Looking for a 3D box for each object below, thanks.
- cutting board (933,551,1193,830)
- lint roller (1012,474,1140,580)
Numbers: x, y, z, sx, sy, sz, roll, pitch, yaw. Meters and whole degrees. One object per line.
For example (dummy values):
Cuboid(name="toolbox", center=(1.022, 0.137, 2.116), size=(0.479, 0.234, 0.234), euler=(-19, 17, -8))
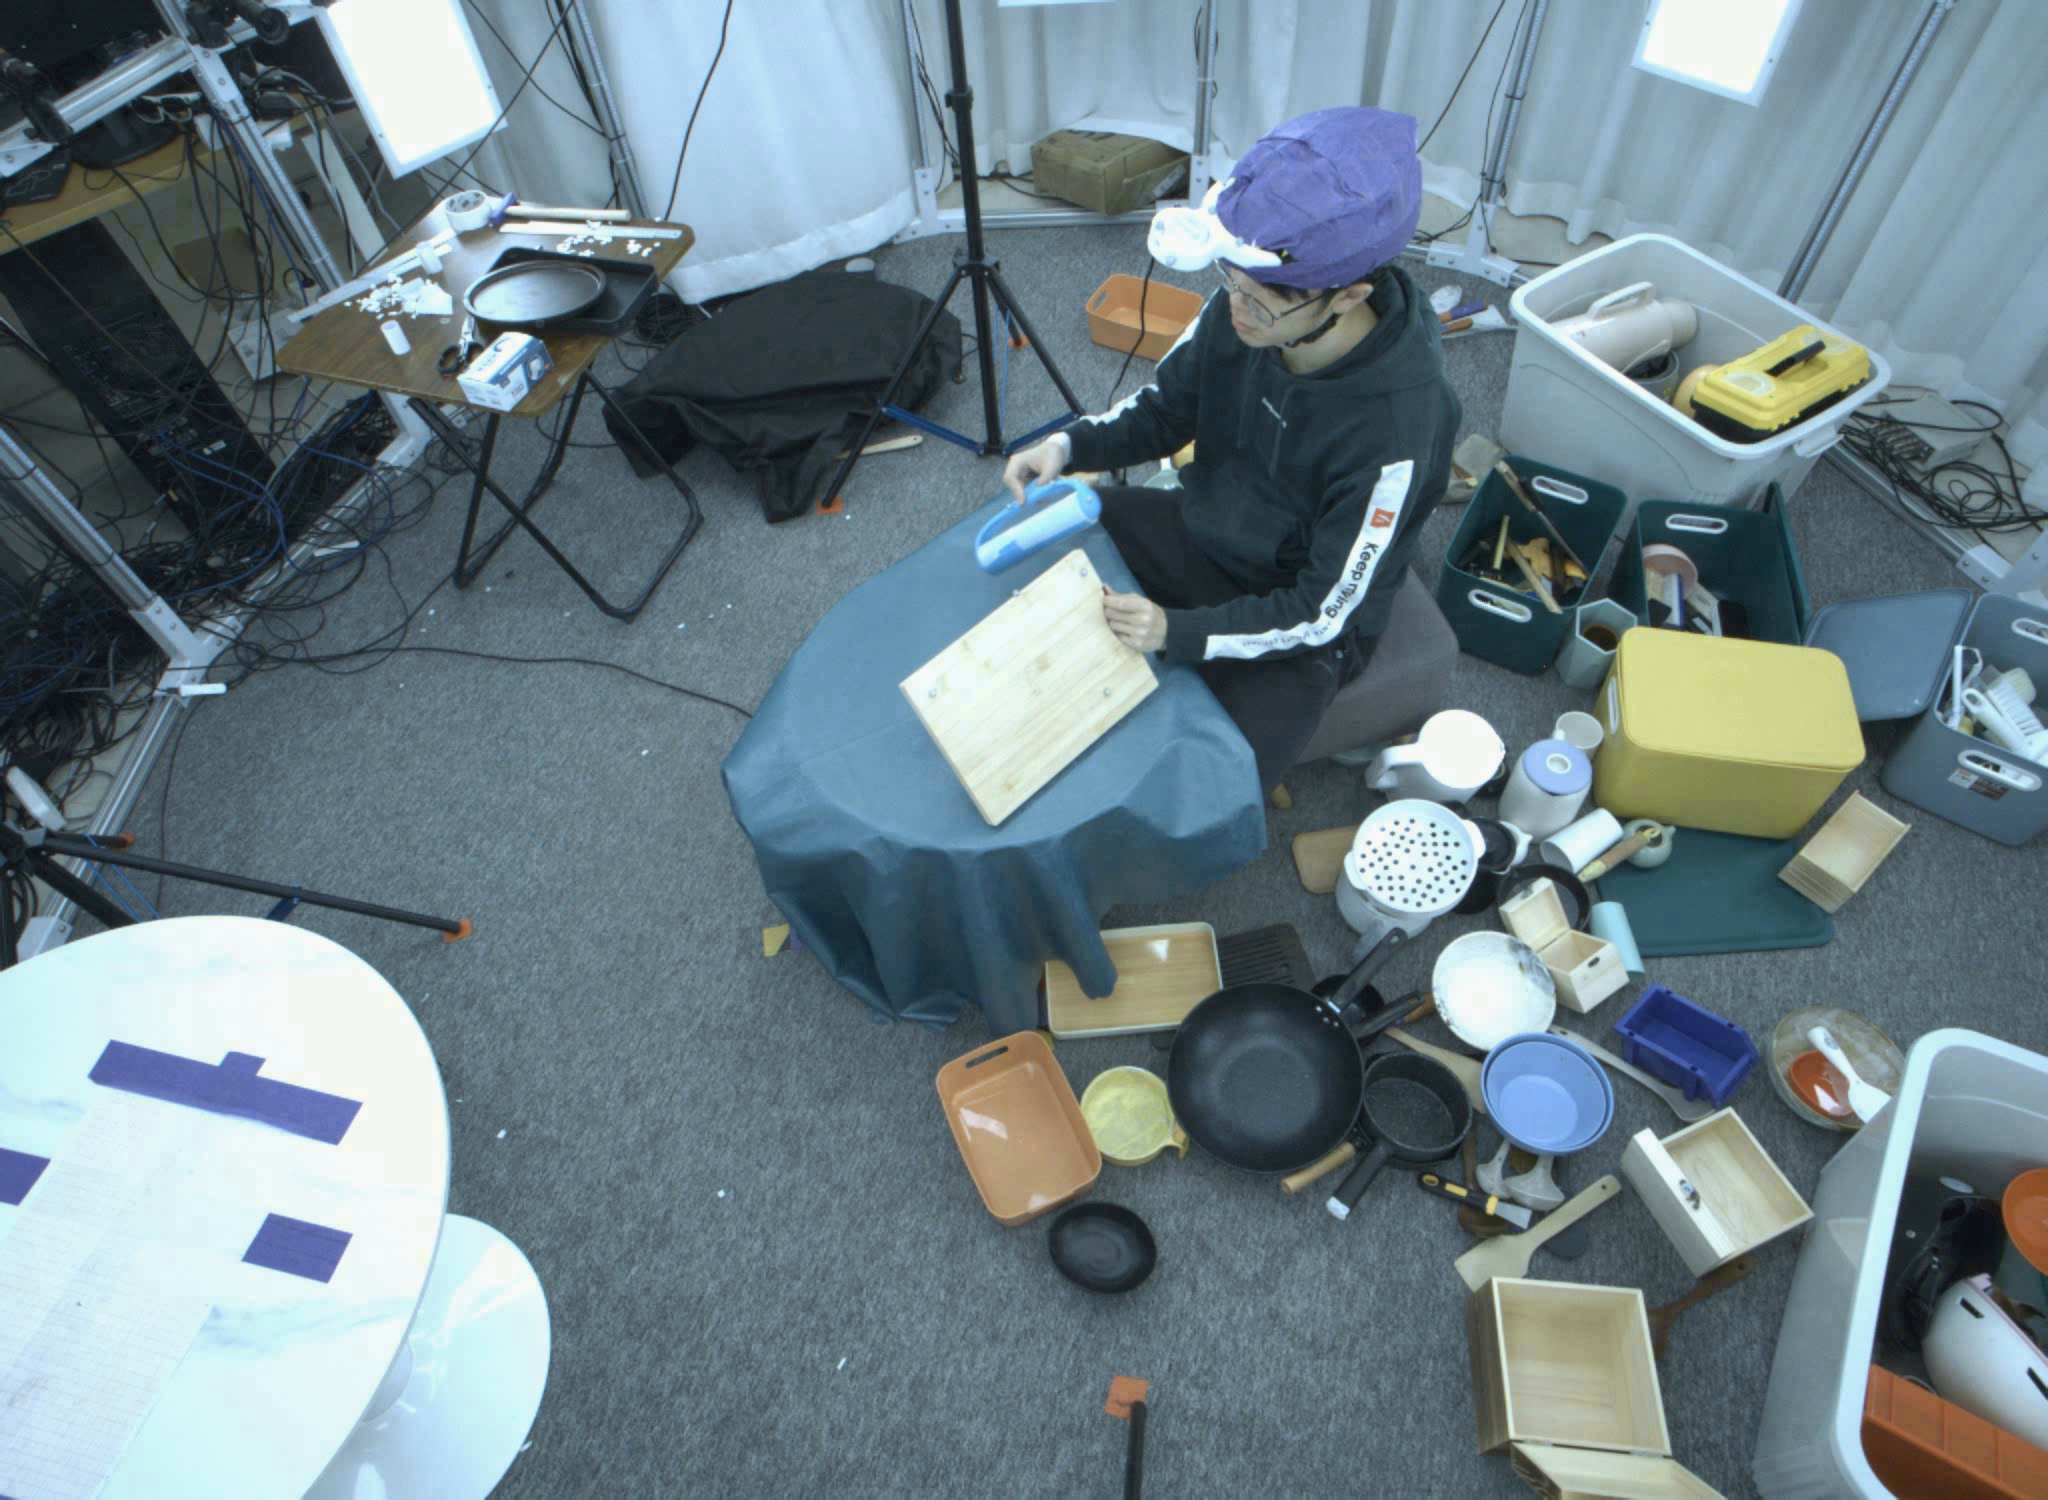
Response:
Cuboid(name="cutting board", center=(0.062, -0.087, 1.719), size=(0.351, 0.254, 0.023), euler=(-40, 24, -21))
Cuboid(name="lint roller", center=(0.076, -0.363, 1.845), size=(0.226, 0.069, 0.178), euler=(-27, 46, 33))
